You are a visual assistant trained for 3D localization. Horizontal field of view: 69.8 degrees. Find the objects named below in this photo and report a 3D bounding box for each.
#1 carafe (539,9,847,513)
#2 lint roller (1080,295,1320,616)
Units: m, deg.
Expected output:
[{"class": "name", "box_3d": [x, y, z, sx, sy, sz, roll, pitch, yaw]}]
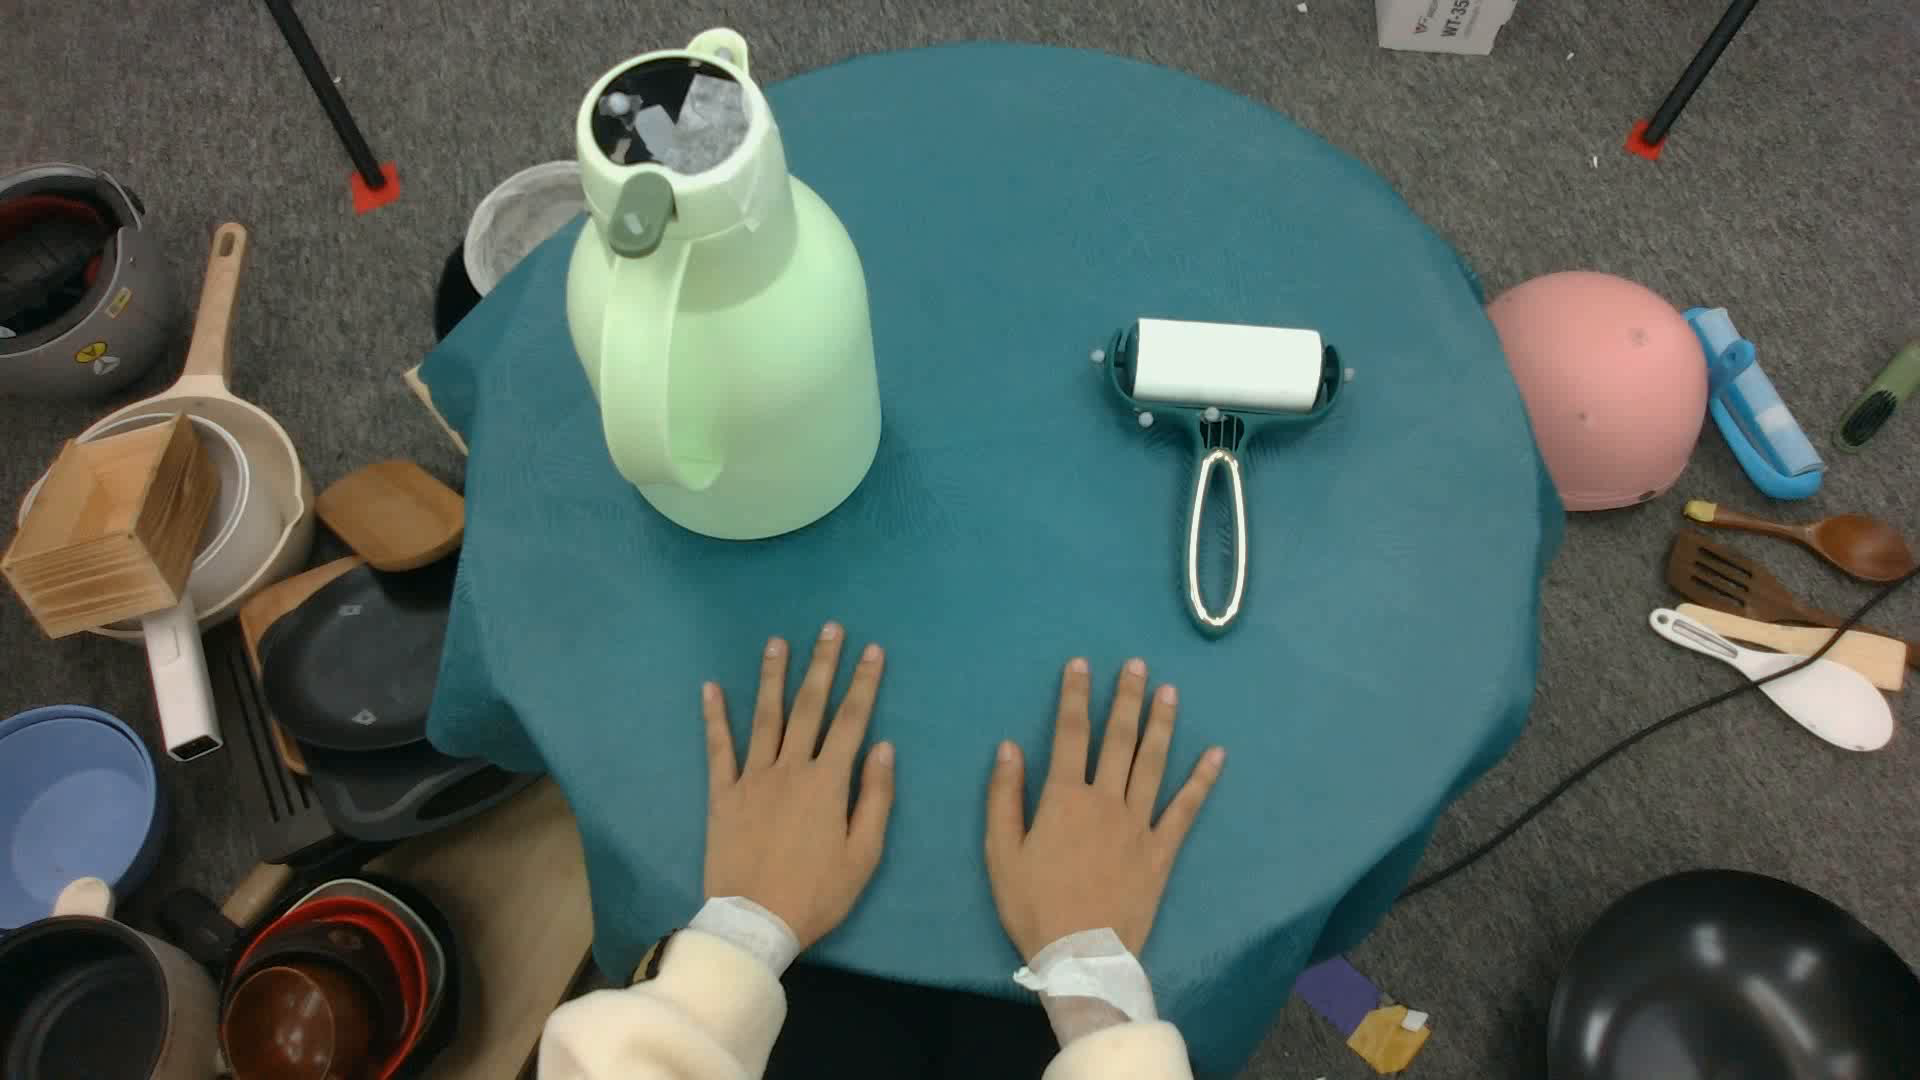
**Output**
[{"class": "carafe", "box_3d": [-0.131, -0.111, 0.655, 0.144, 0.256, 0.187, 10, 69, 1]}, {"class": "lint roller", "box_3d": [0.127, -0.050, 0.746, 0.134, 0.048, 0.181, 5, 65, 1]}]
